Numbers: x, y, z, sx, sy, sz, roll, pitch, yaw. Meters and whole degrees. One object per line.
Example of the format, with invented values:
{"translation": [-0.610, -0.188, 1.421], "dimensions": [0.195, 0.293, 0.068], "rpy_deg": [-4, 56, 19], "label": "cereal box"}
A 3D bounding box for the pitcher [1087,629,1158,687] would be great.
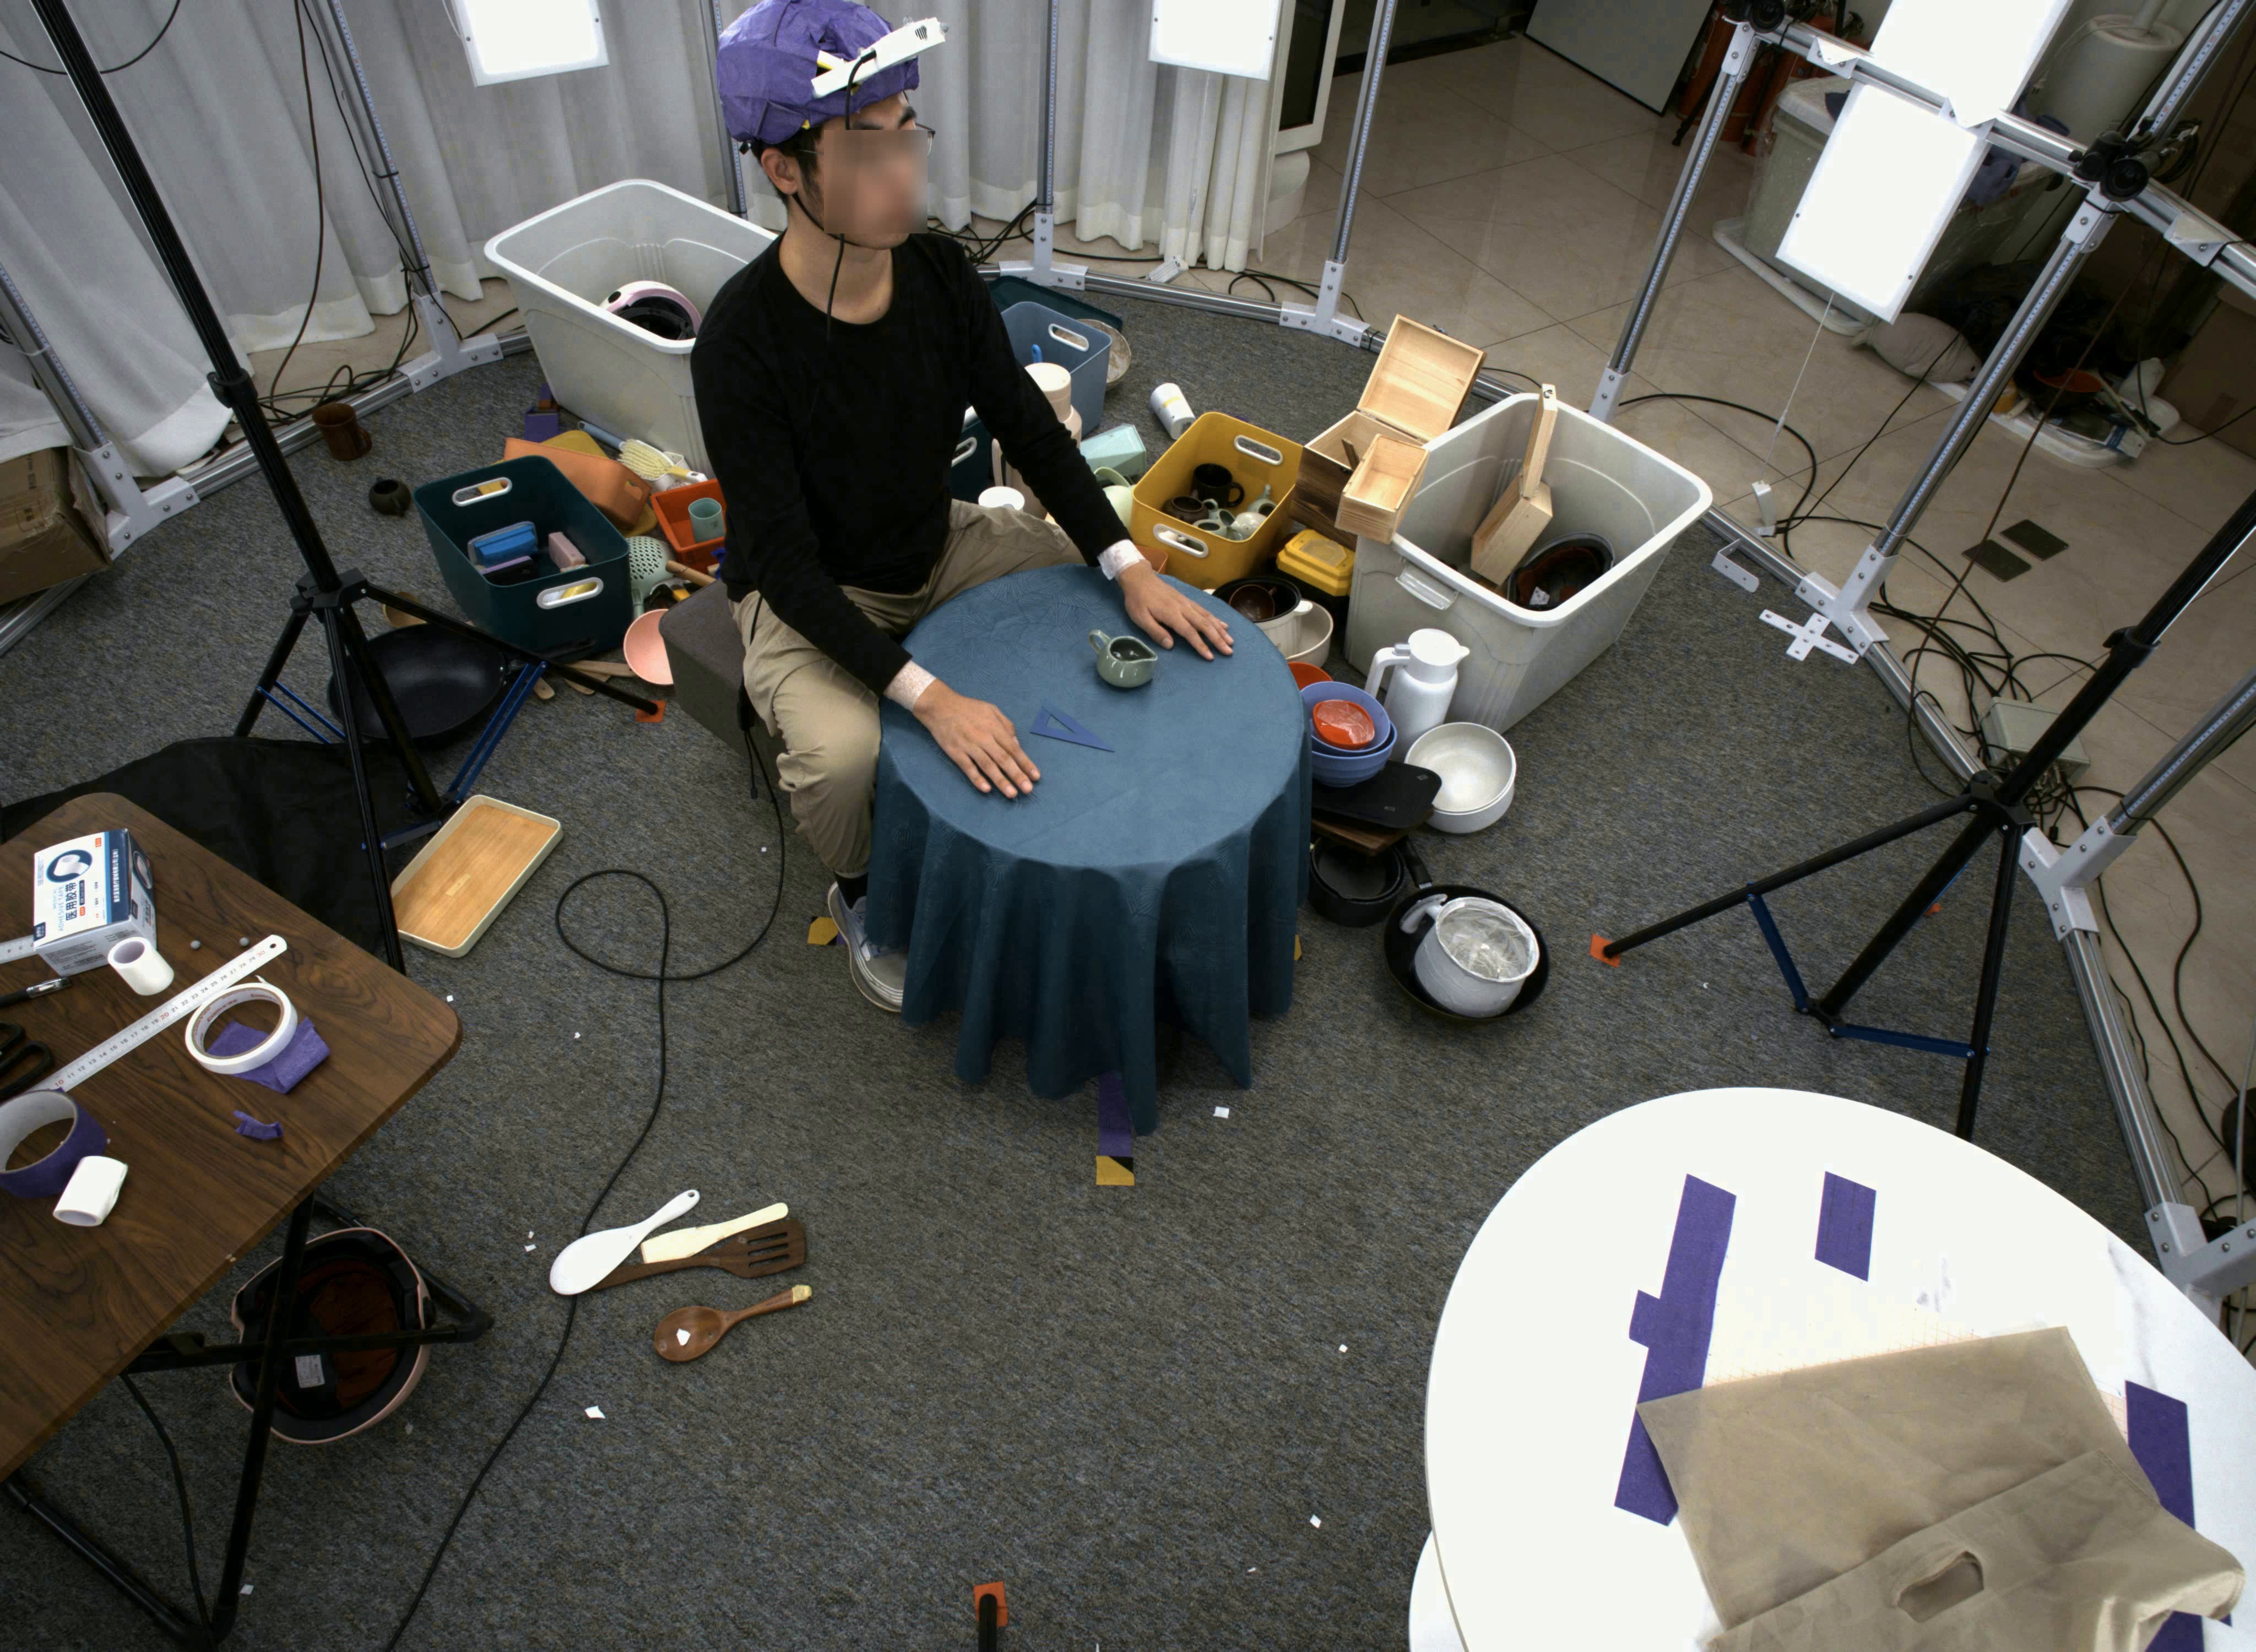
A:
{"translation": [-0.009, -0.243, 1.844], "dimensions": [0.113, 0.055, 0.085], "rpy_deg": [25, 50, 17], "label": "pitcher"}

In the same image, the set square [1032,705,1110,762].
{"translation": [-0.086, -0.119, 1.765], "dimensions": [0.061, 0.006, 0.134], "rpy_deg": [-32, 58, -28], "label": "set square"}
